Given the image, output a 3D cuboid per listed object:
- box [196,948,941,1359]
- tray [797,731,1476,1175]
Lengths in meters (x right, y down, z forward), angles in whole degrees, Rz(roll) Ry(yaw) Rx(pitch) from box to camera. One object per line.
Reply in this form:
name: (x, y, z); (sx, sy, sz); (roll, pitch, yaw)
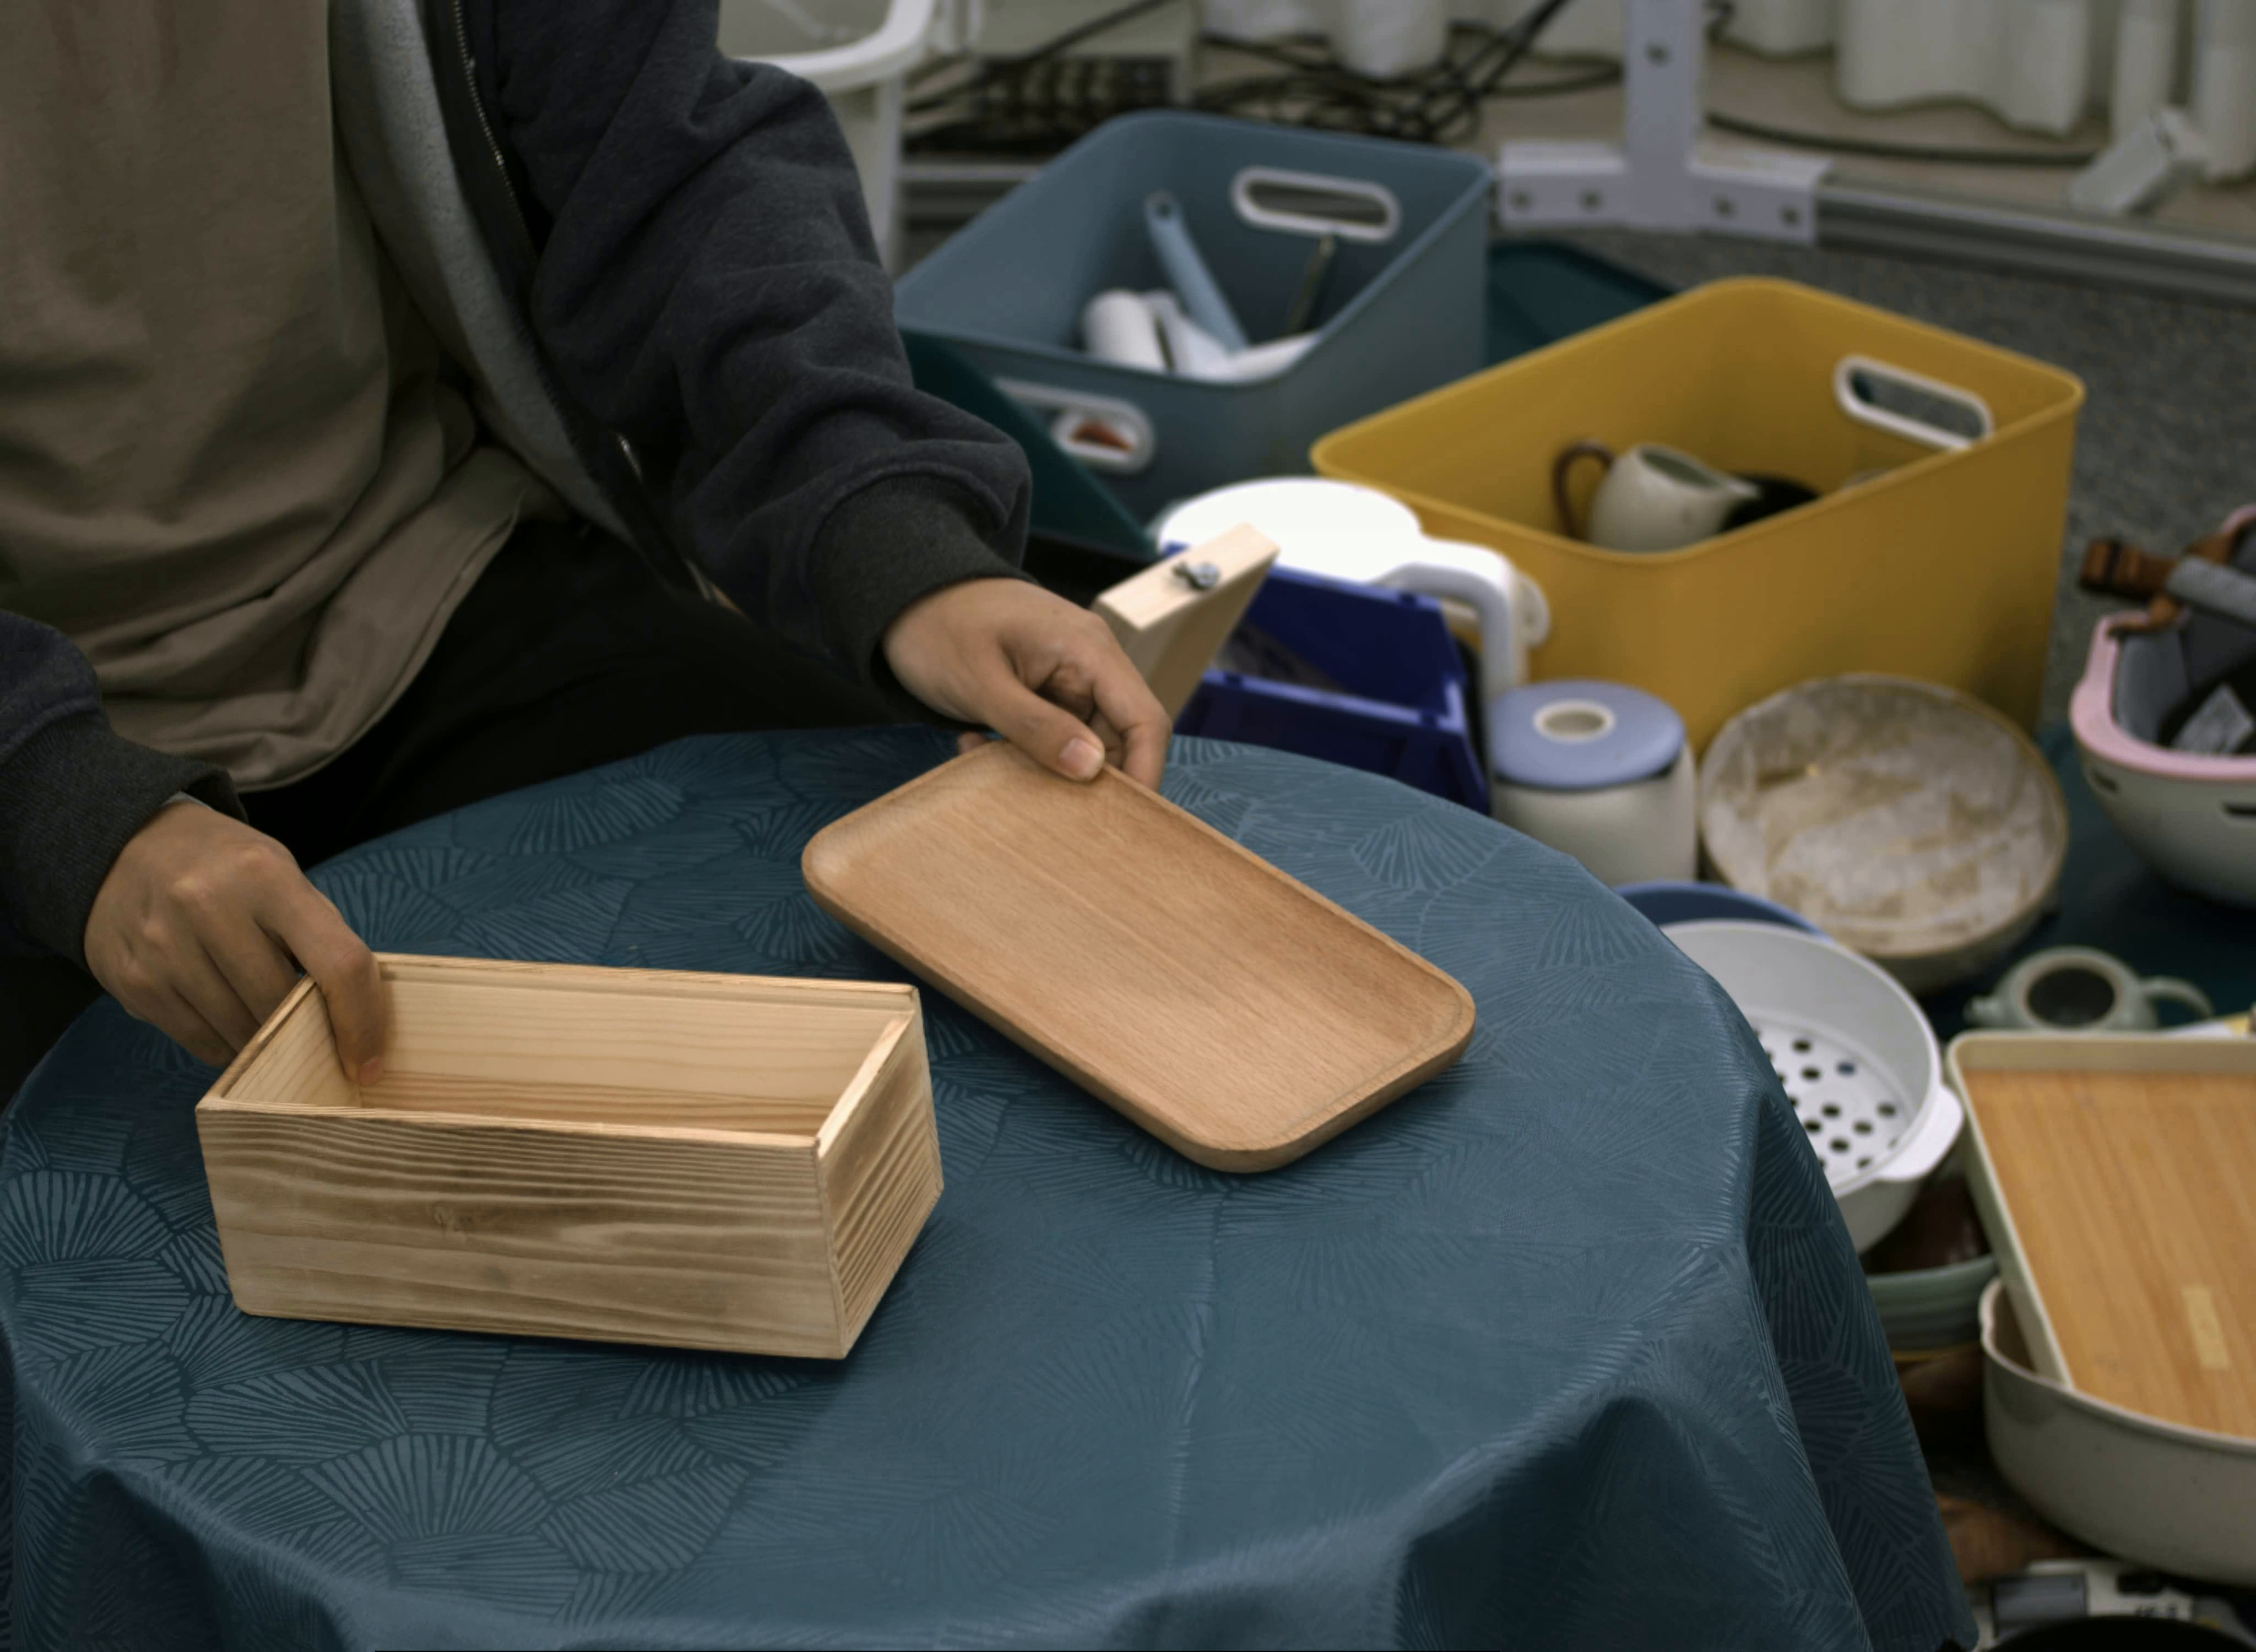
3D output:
box: (-0.179, 0.105, 1.817); (0.210, 0.079, 0.109); (2, 27, 17)
tray: (0.001, 0.042, 1.962); (0.132, 0.022, 0.251); (-25, 40, -34)
